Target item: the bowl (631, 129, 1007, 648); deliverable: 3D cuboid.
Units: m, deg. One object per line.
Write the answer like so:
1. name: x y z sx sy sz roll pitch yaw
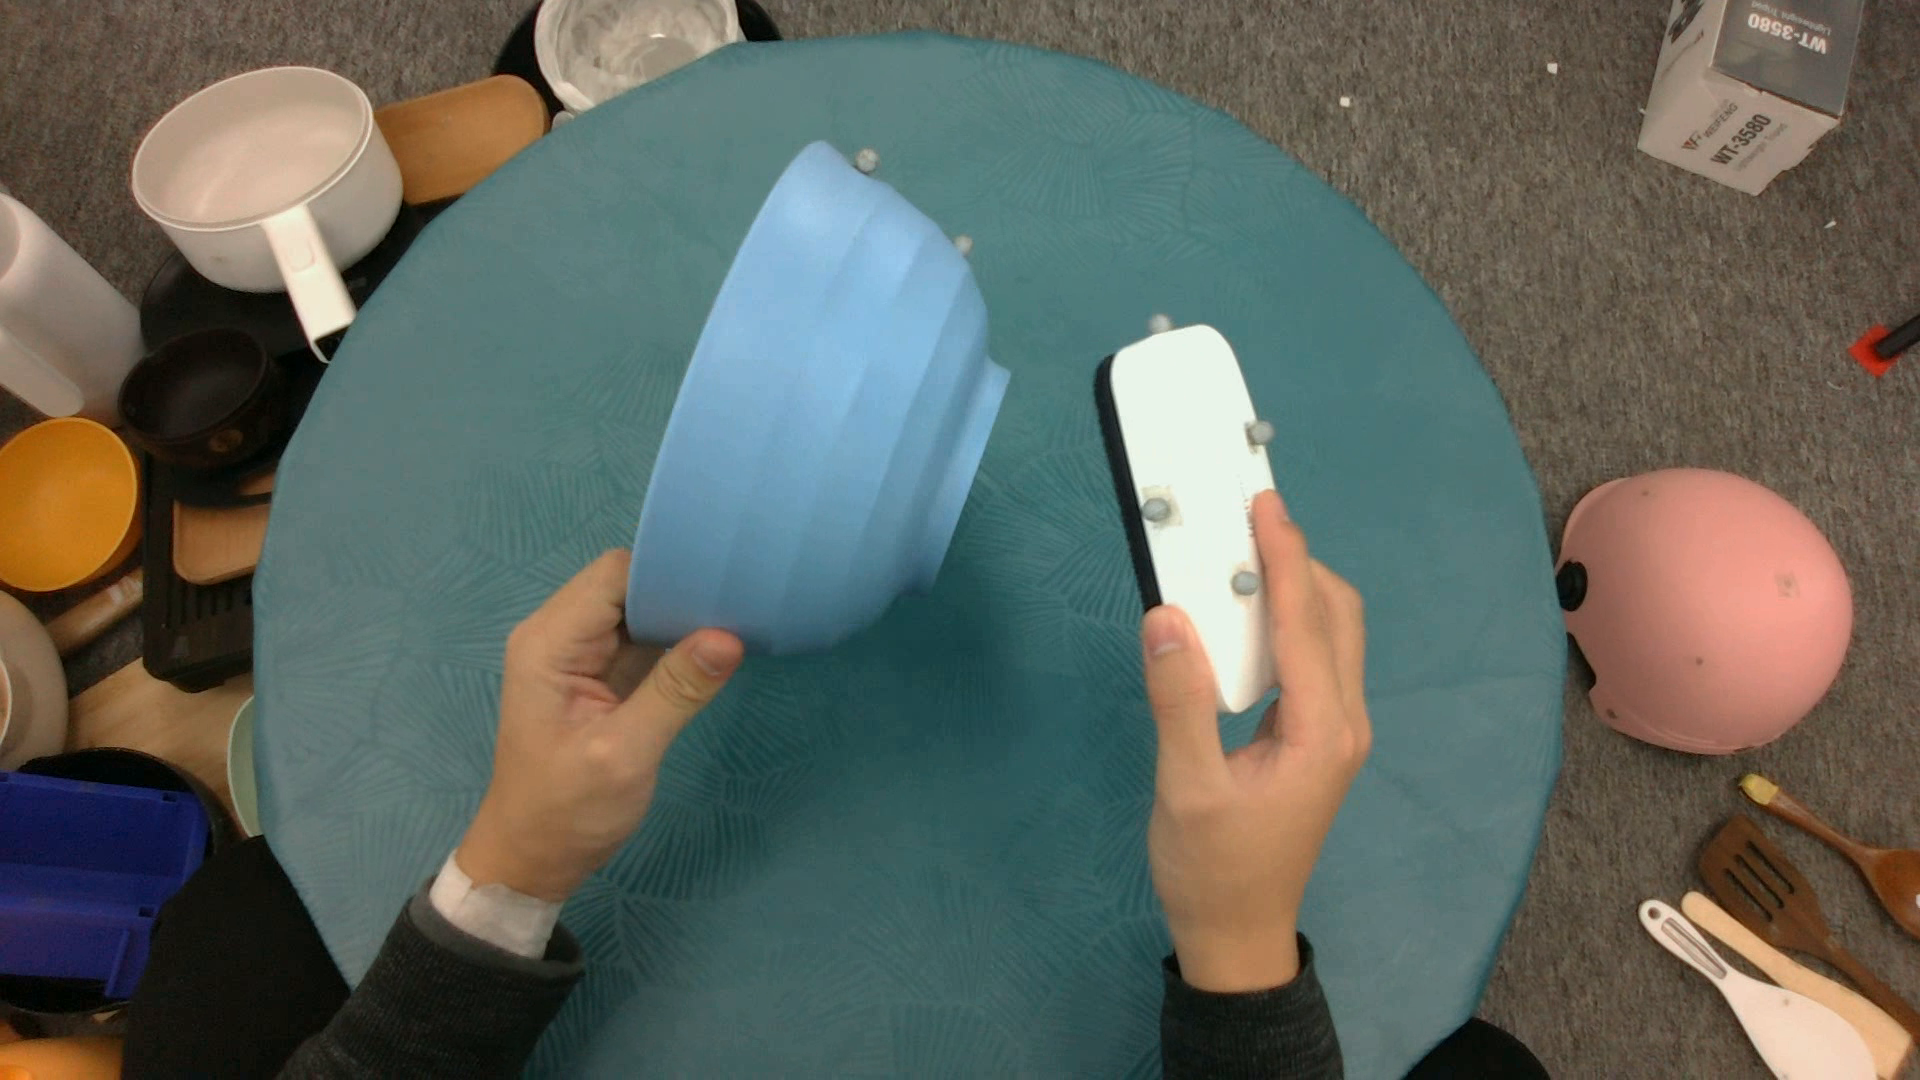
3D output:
1. bowl: -0.042 -0.042 0.515 0.095 0.196 0.197 20 71 -3

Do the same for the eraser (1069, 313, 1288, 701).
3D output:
1. eraser: 0.078 -0.011 0.476 0.063 0.034 0.131 -22 97 -49
